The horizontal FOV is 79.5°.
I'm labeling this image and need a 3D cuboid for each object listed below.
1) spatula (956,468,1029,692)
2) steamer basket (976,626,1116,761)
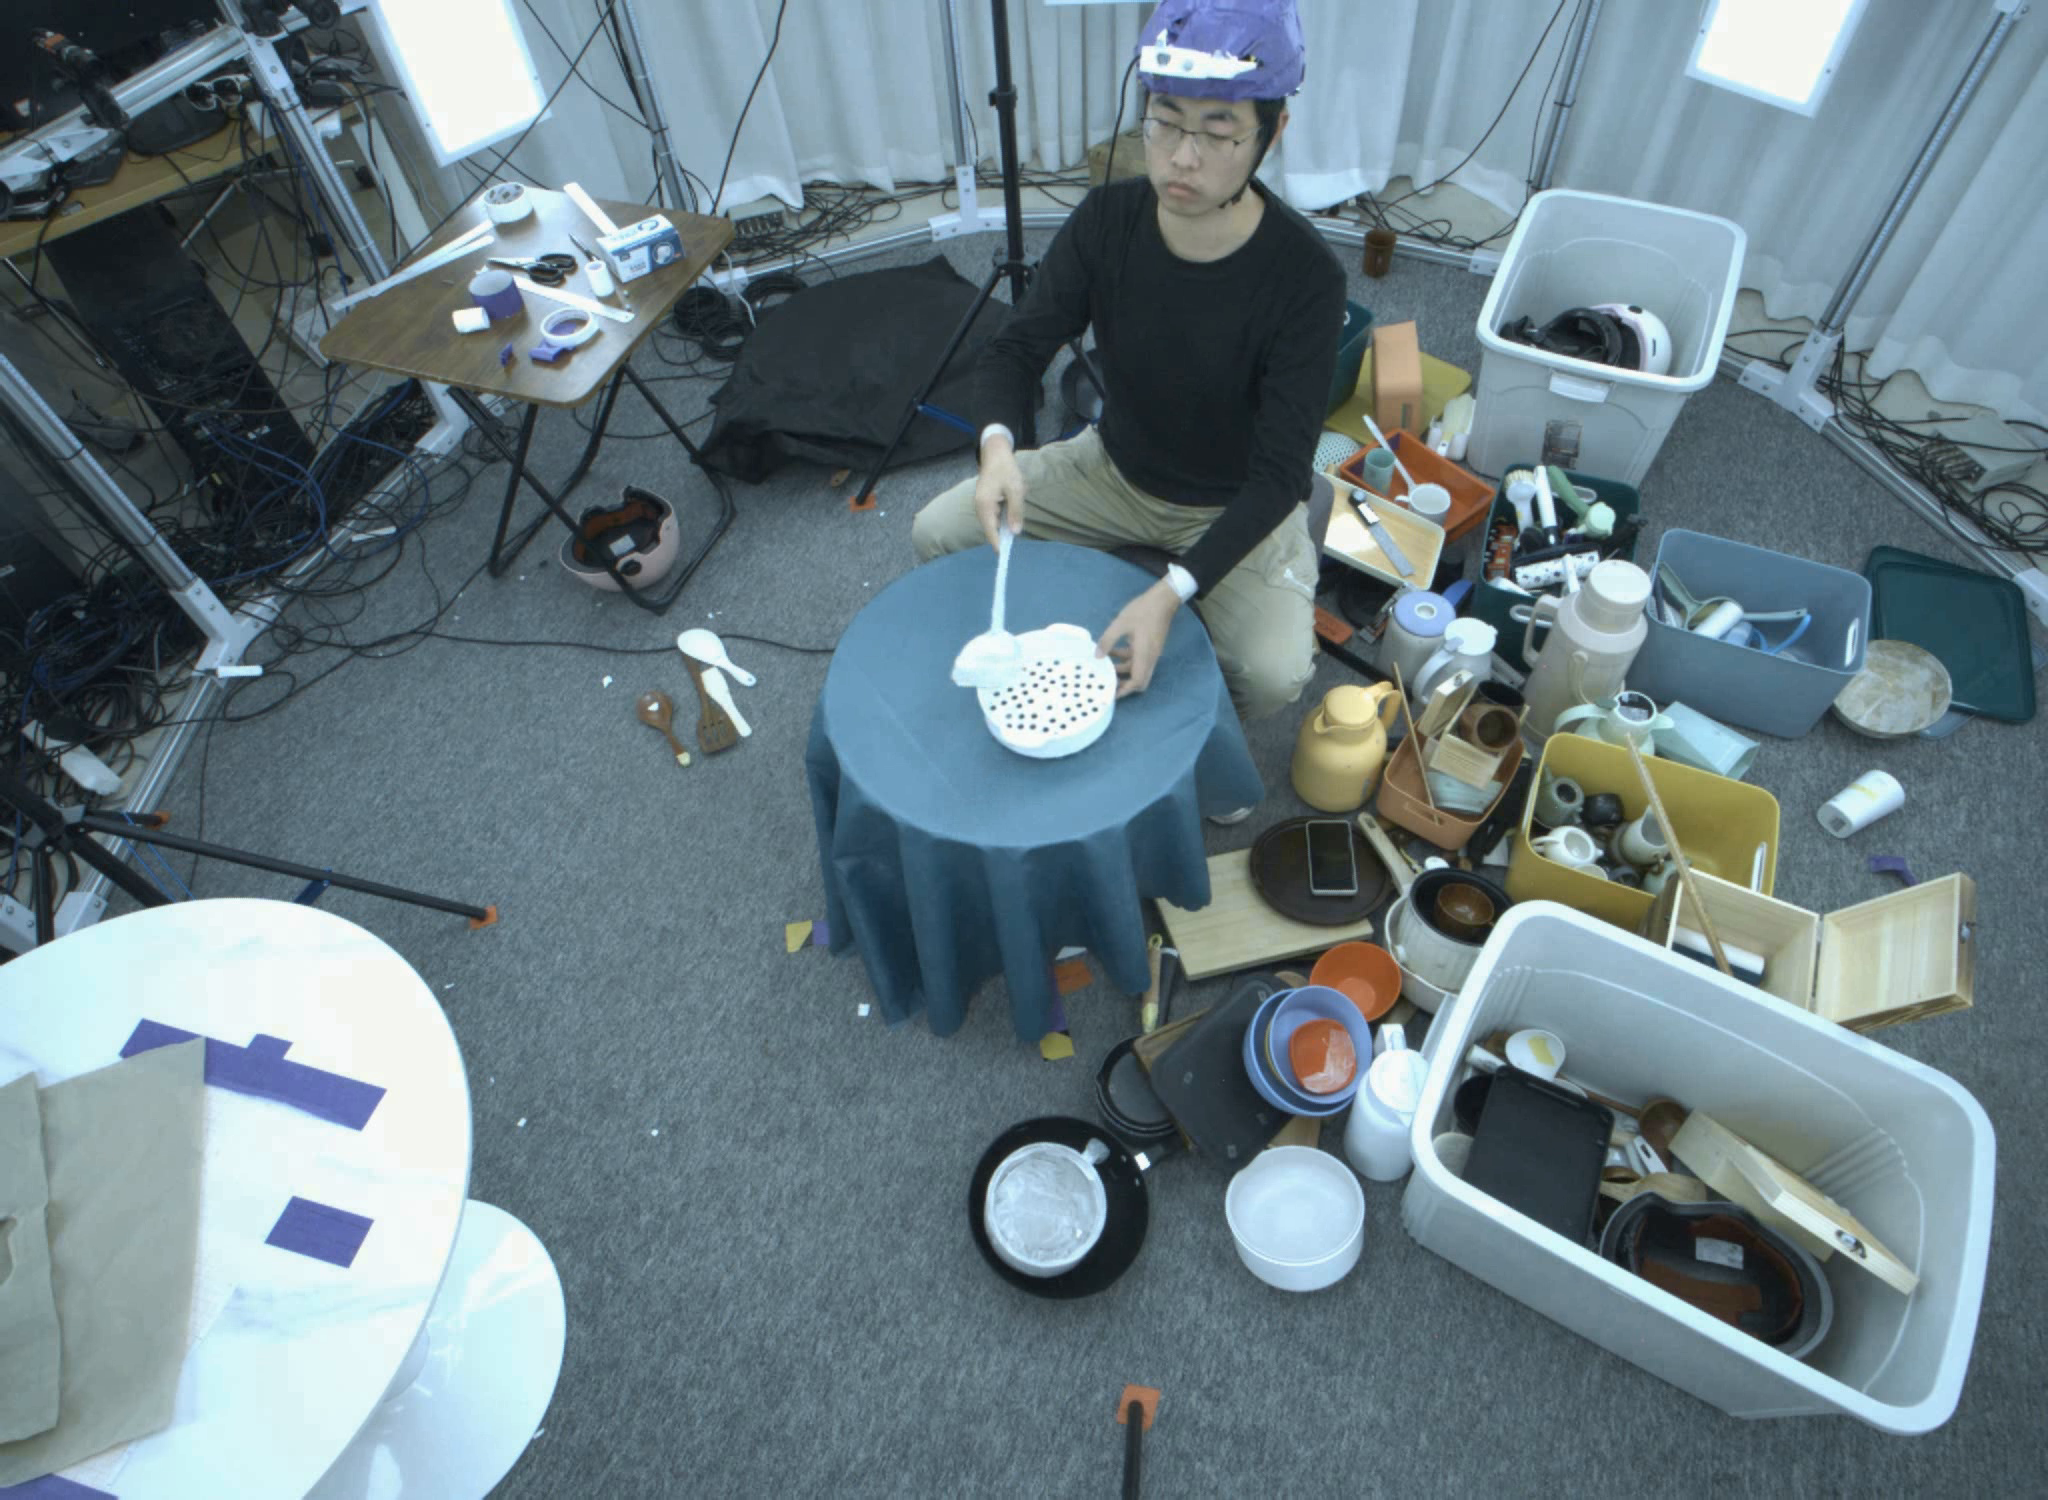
[{"bbox_3d":[-0.027,-0.249,1.736,0.098,0.045,0.363,2,75,14],"label":"spatula"},{"bbox_3d":[0.033,-0.077,1.796,0.200,0.070,0.230,15,58,13],"label":"steamer basket"}]
